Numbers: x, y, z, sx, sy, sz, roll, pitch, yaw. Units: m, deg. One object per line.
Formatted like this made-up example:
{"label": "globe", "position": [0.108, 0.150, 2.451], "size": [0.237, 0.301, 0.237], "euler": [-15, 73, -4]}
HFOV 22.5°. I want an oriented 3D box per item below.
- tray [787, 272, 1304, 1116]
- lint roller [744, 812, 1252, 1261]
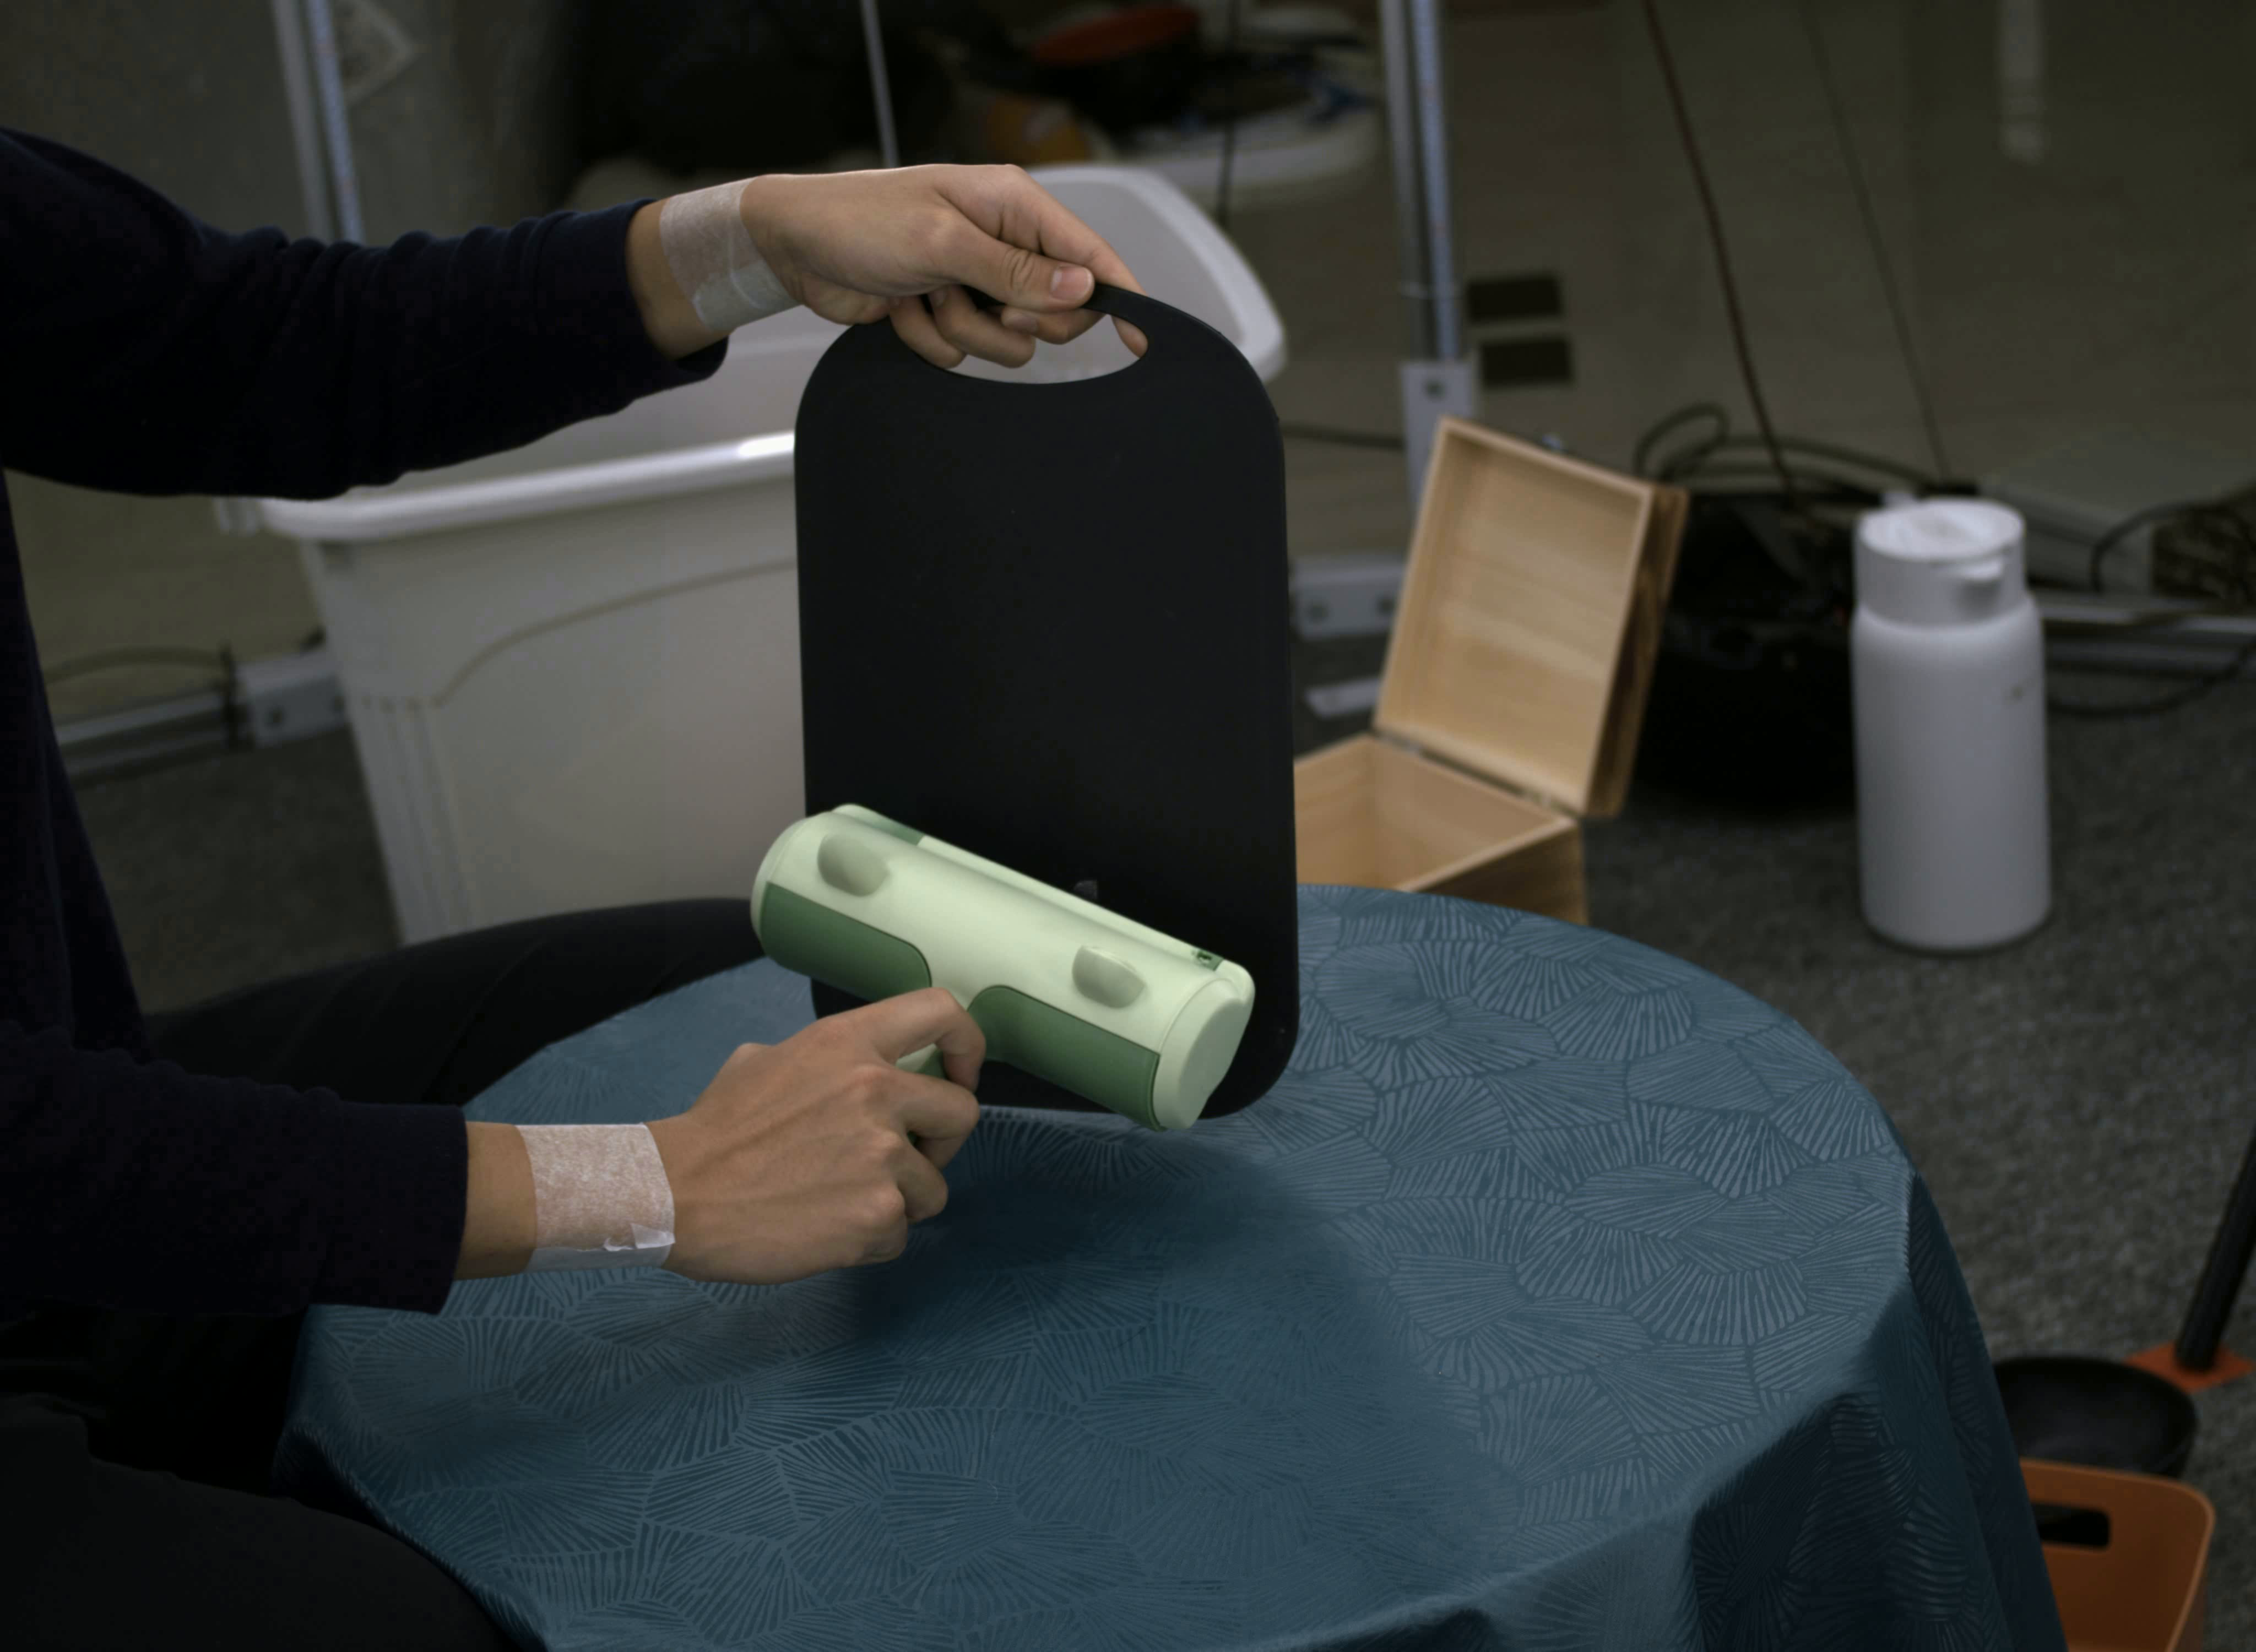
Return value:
{"label": "tray", "position": [-0.032, -0.050, 2.177], "size": [0.210, 0.328, 0.010], "euler": [2, 12, 24]}
{"label": "lint roller", "position": [-0.081, 0.079, 2.084], "size": [0.197, 0.084, 0.181], "euler": [22, 48, 25]}
